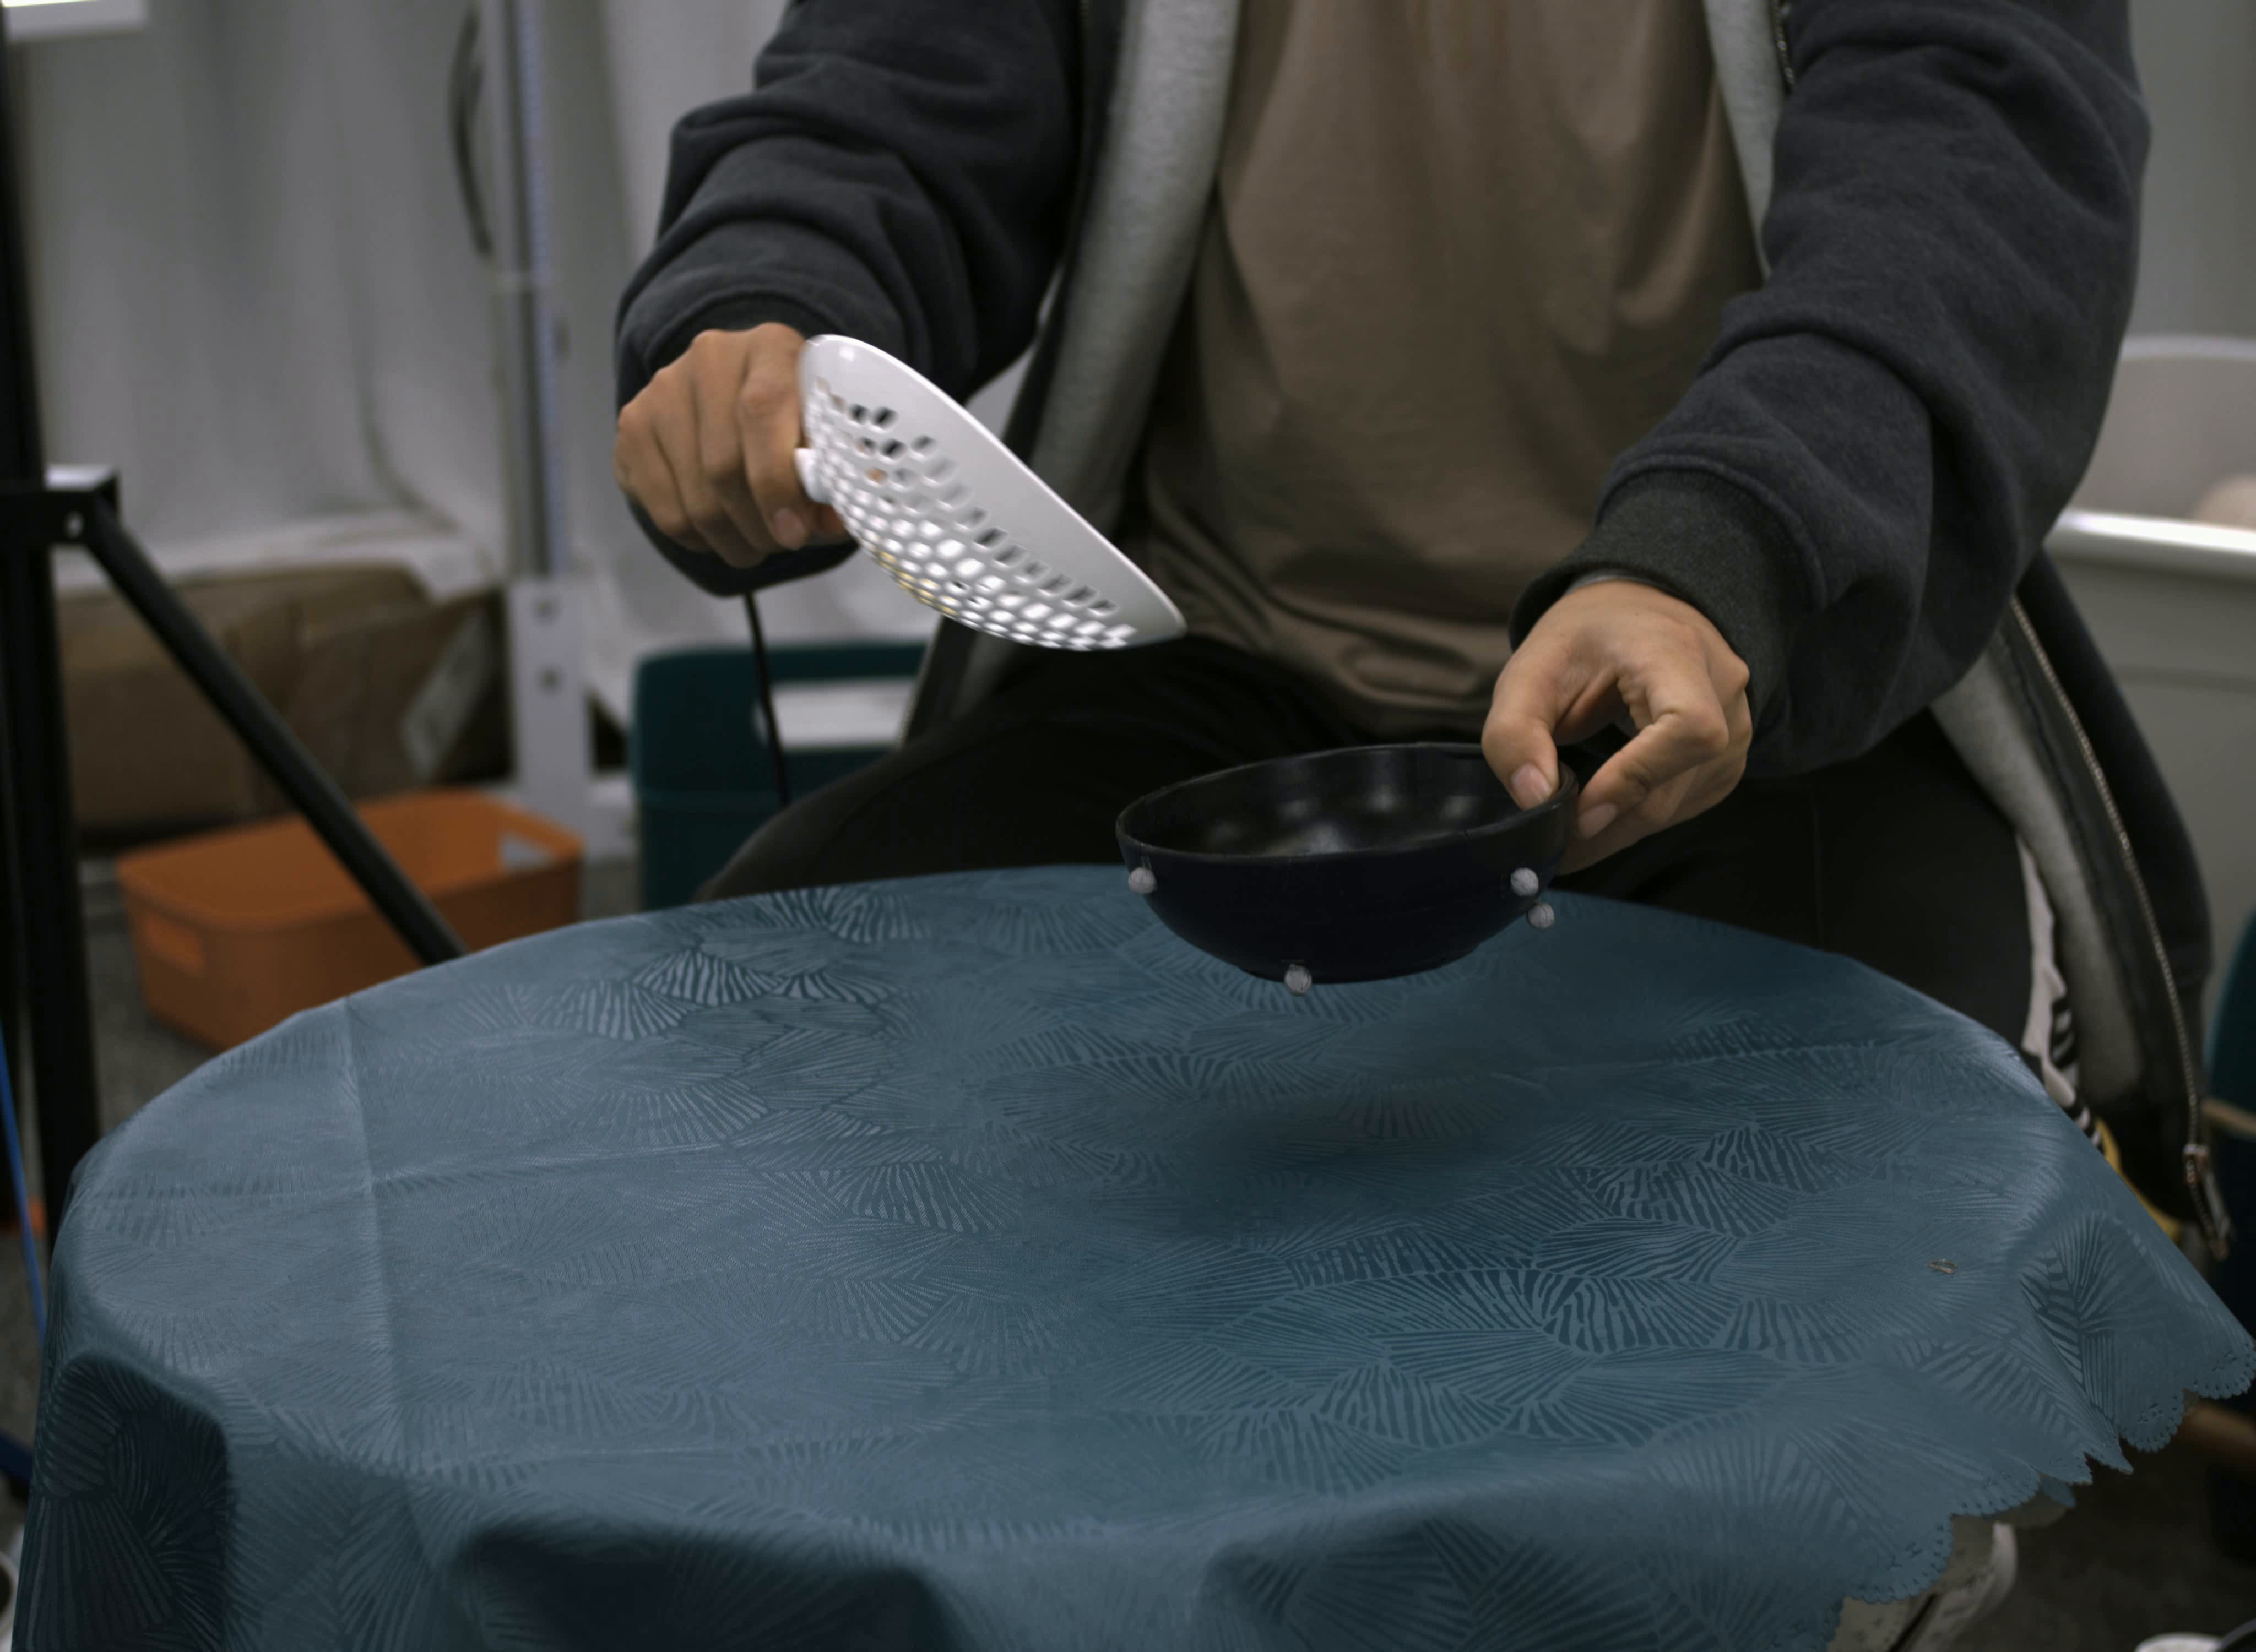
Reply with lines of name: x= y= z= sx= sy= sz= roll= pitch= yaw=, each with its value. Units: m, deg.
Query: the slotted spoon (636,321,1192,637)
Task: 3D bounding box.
slotted spoon: x=-0.086 y=-0.100 z=1.645 sx=0.135 sy=0.050 sz=0.353 roll=39 pitch=-6 yaw=-19
